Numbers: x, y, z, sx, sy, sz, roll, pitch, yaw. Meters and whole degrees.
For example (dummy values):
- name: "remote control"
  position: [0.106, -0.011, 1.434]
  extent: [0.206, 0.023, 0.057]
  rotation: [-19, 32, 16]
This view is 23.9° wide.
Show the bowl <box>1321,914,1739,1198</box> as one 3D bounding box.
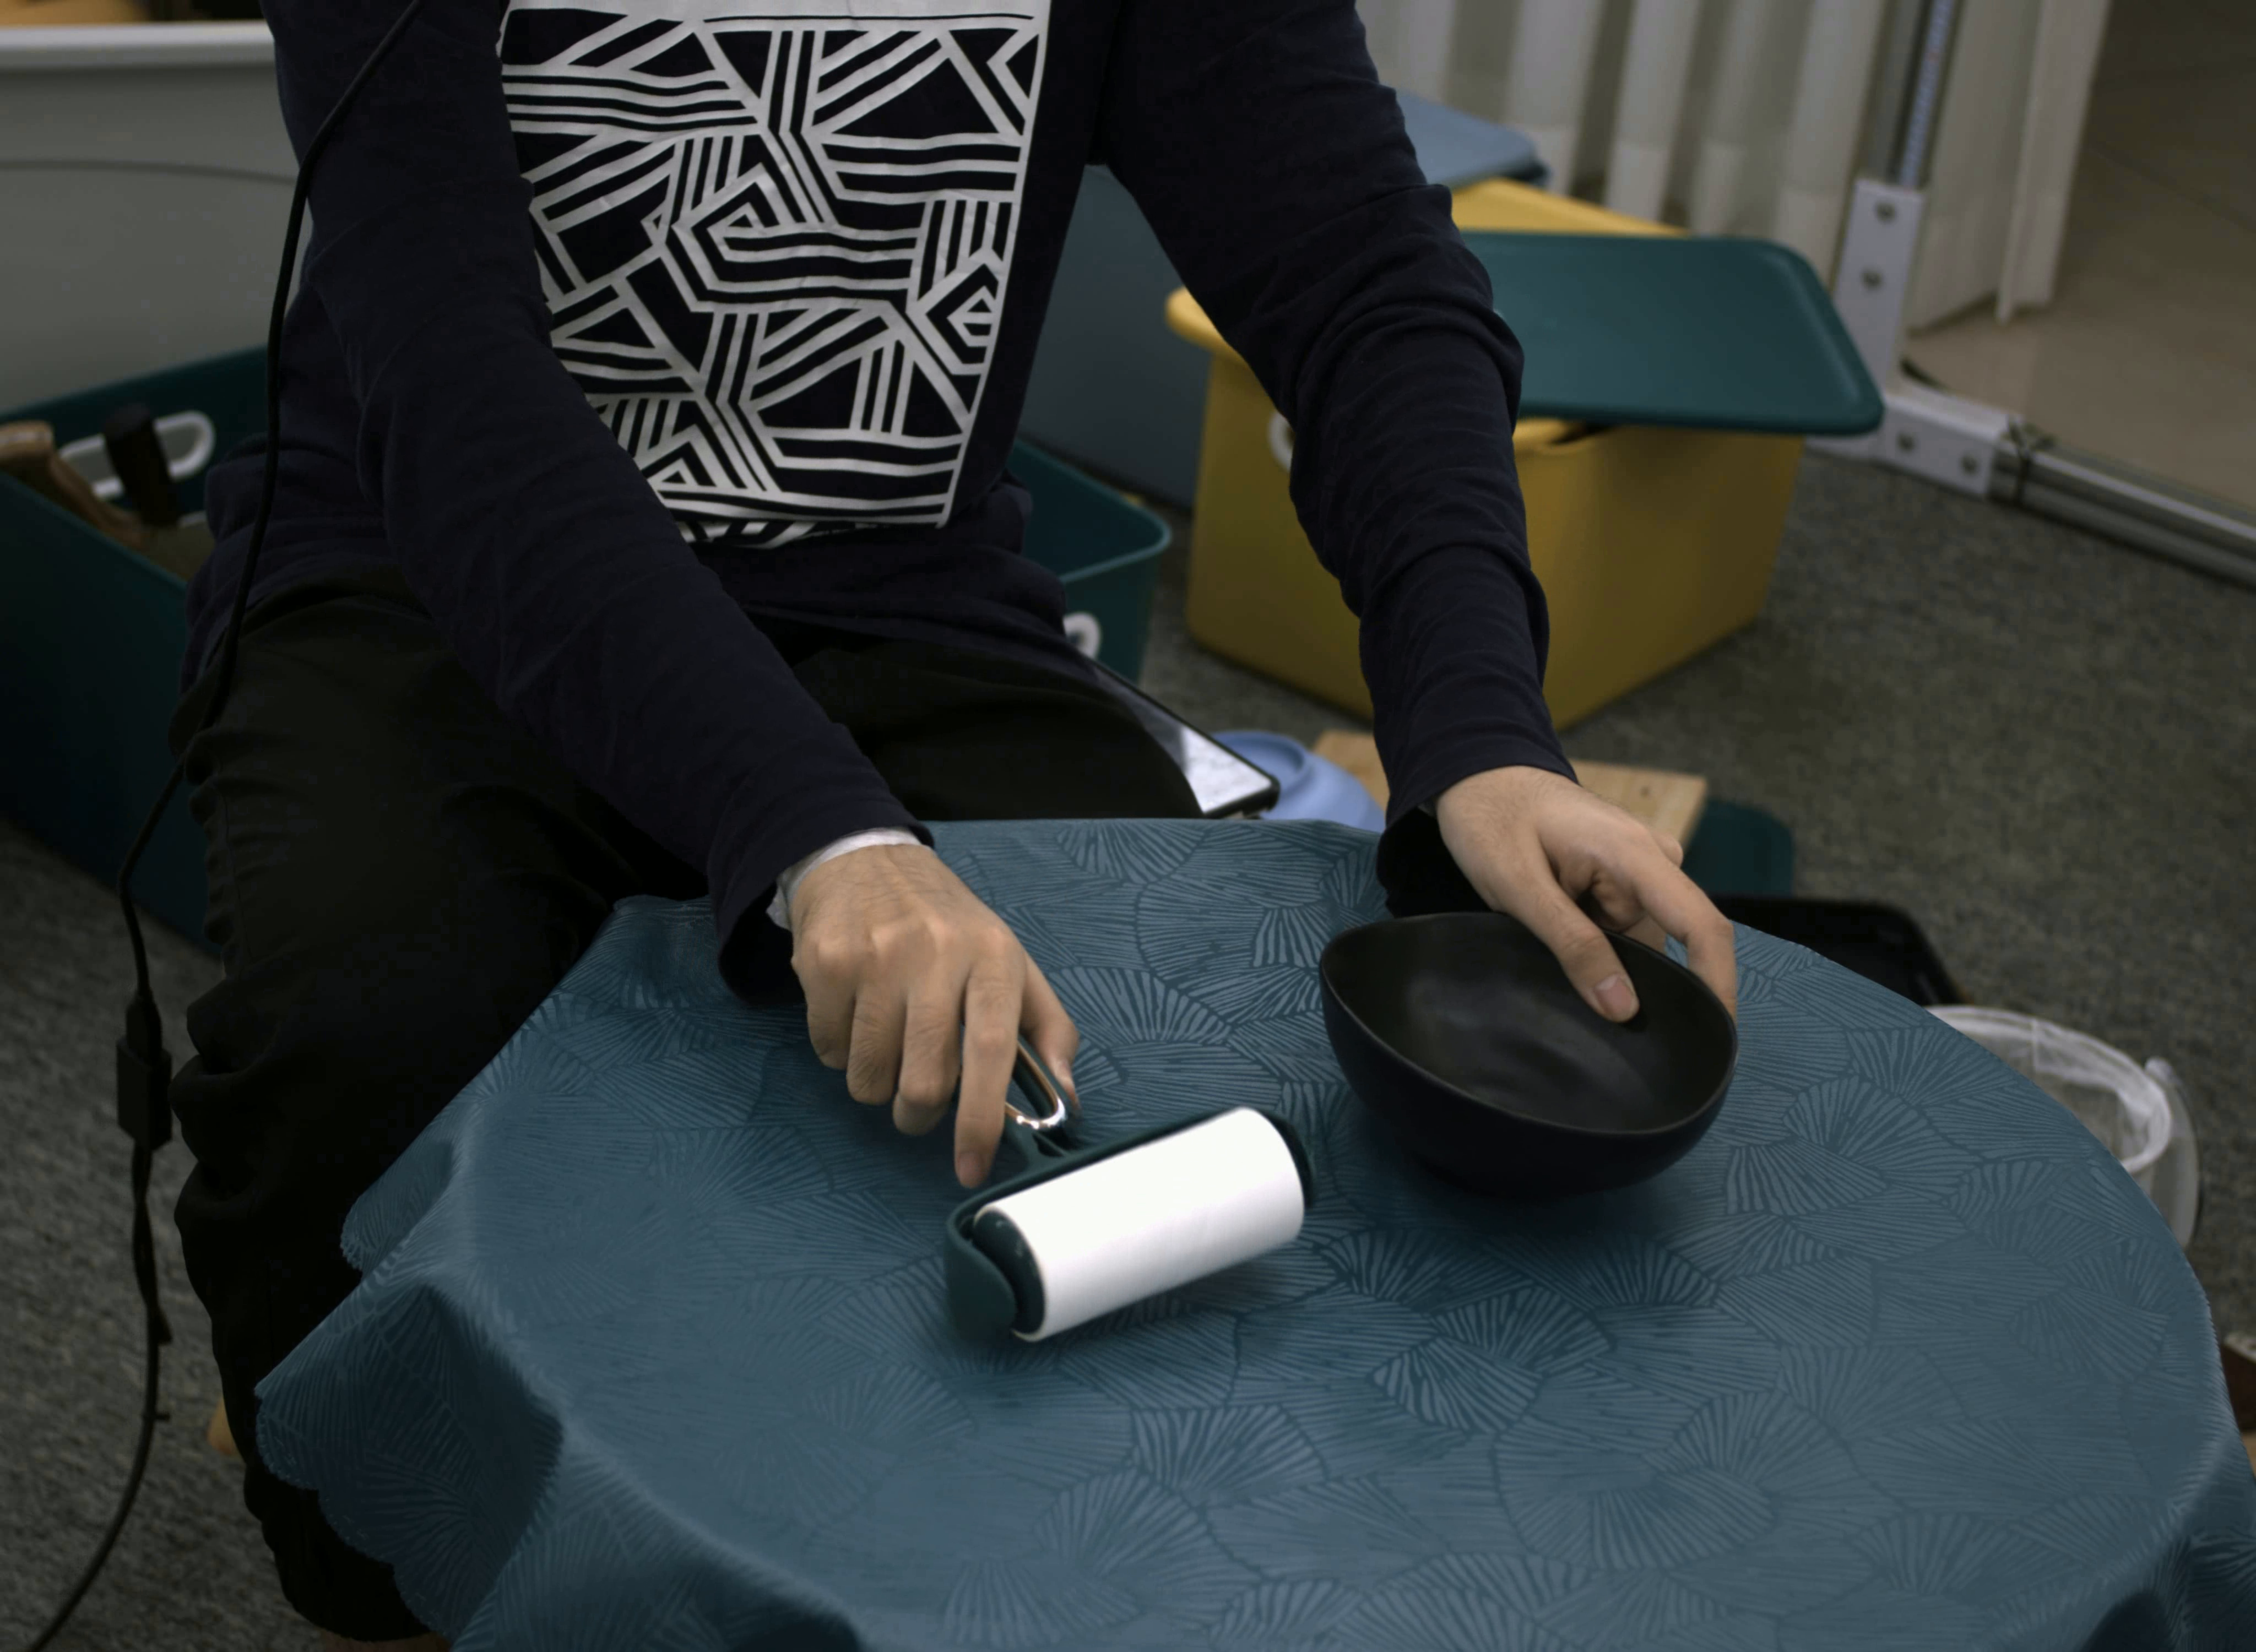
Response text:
- name: "bowl"
  position: [0.133, 0.085, 1.840]
  extent: [0.136, 0.066, 0.172]
  rotation: [-7, 28, -25]

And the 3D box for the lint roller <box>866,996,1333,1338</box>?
- name: "lint roller"
  position: [-0.035, 0.092, 1.772]
  extent: [0.134, 0.048, 0.182]
  rotation: [-21, 43, -26]
